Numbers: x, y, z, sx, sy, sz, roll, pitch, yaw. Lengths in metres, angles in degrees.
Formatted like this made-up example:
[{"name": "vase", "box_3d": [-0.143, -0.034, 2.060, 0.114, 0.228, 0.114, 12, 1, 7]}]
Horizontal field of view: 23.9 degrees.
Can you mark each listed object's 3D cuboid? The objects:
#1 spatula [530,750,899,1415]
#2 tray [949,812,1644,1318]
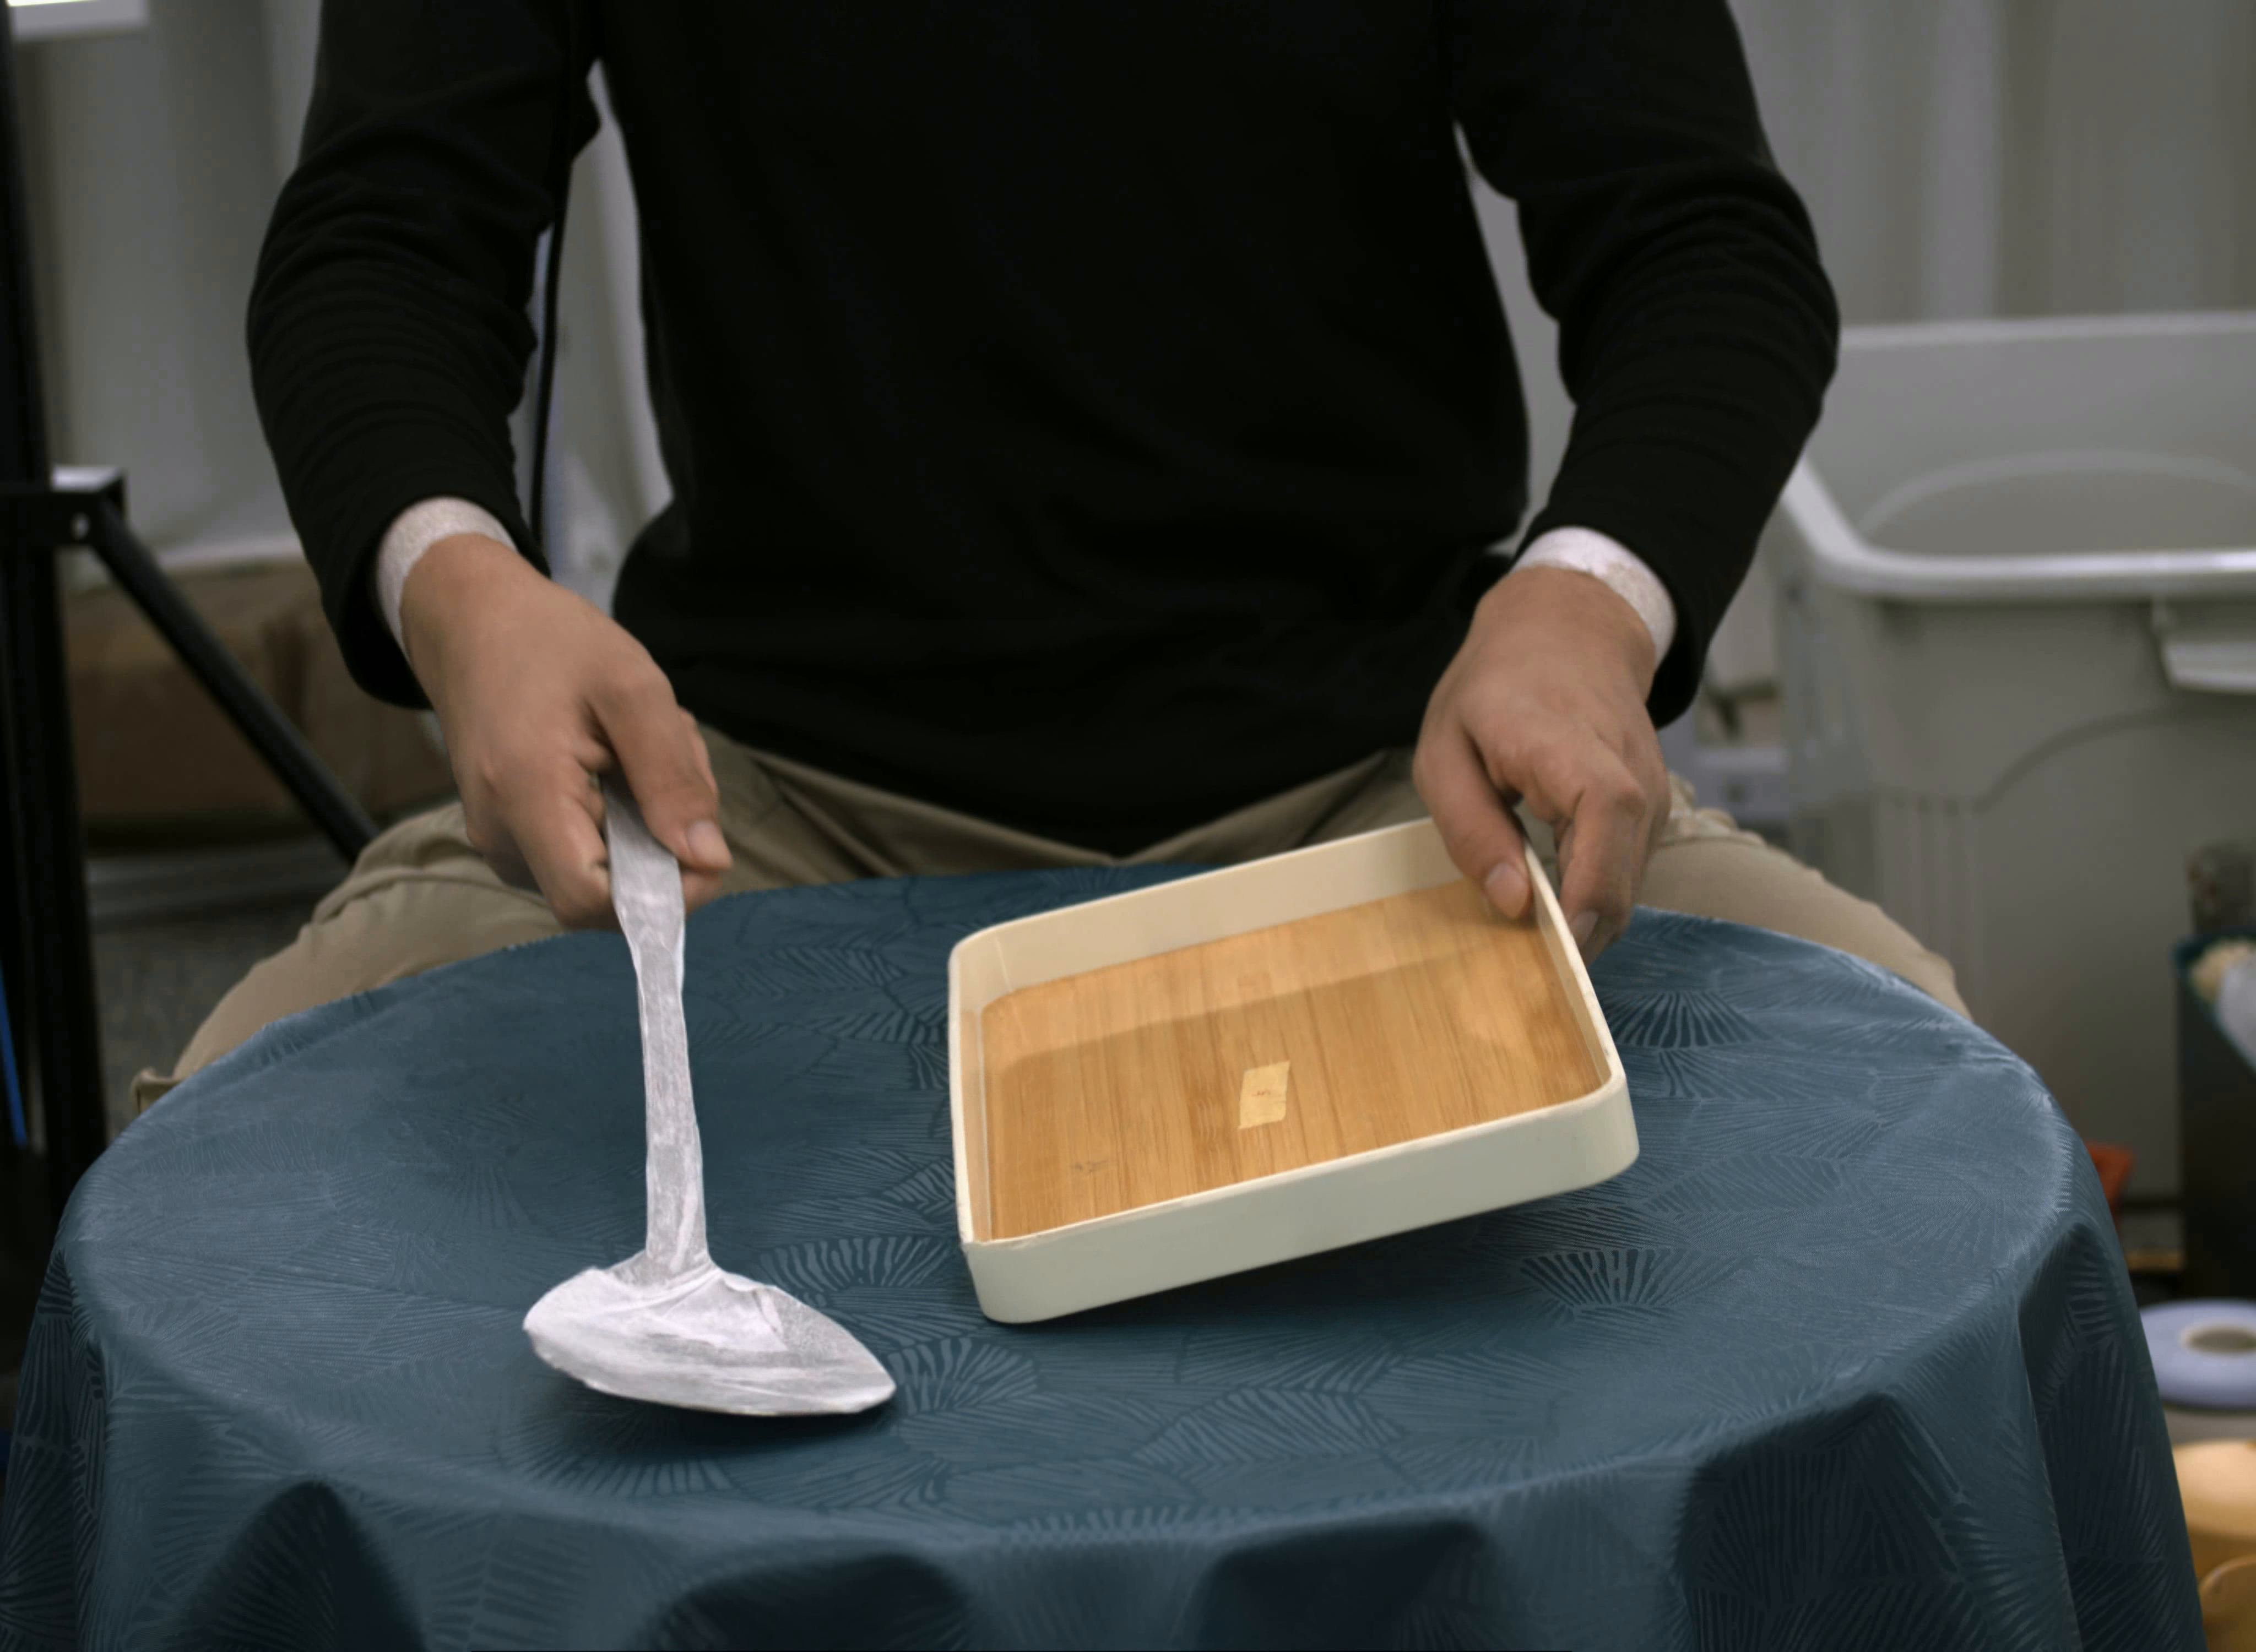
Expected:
[{"name": "spatula", "box_3d": [-0.129, 0.062, 1.533, 0.097, 0.045, 0.370, 5, 34, -12]}, {"name": "tray", "box_3d": [0.043, 0.067, 1.584, 0.191, 0.027, 0.302, -14, 16, 2]}]
